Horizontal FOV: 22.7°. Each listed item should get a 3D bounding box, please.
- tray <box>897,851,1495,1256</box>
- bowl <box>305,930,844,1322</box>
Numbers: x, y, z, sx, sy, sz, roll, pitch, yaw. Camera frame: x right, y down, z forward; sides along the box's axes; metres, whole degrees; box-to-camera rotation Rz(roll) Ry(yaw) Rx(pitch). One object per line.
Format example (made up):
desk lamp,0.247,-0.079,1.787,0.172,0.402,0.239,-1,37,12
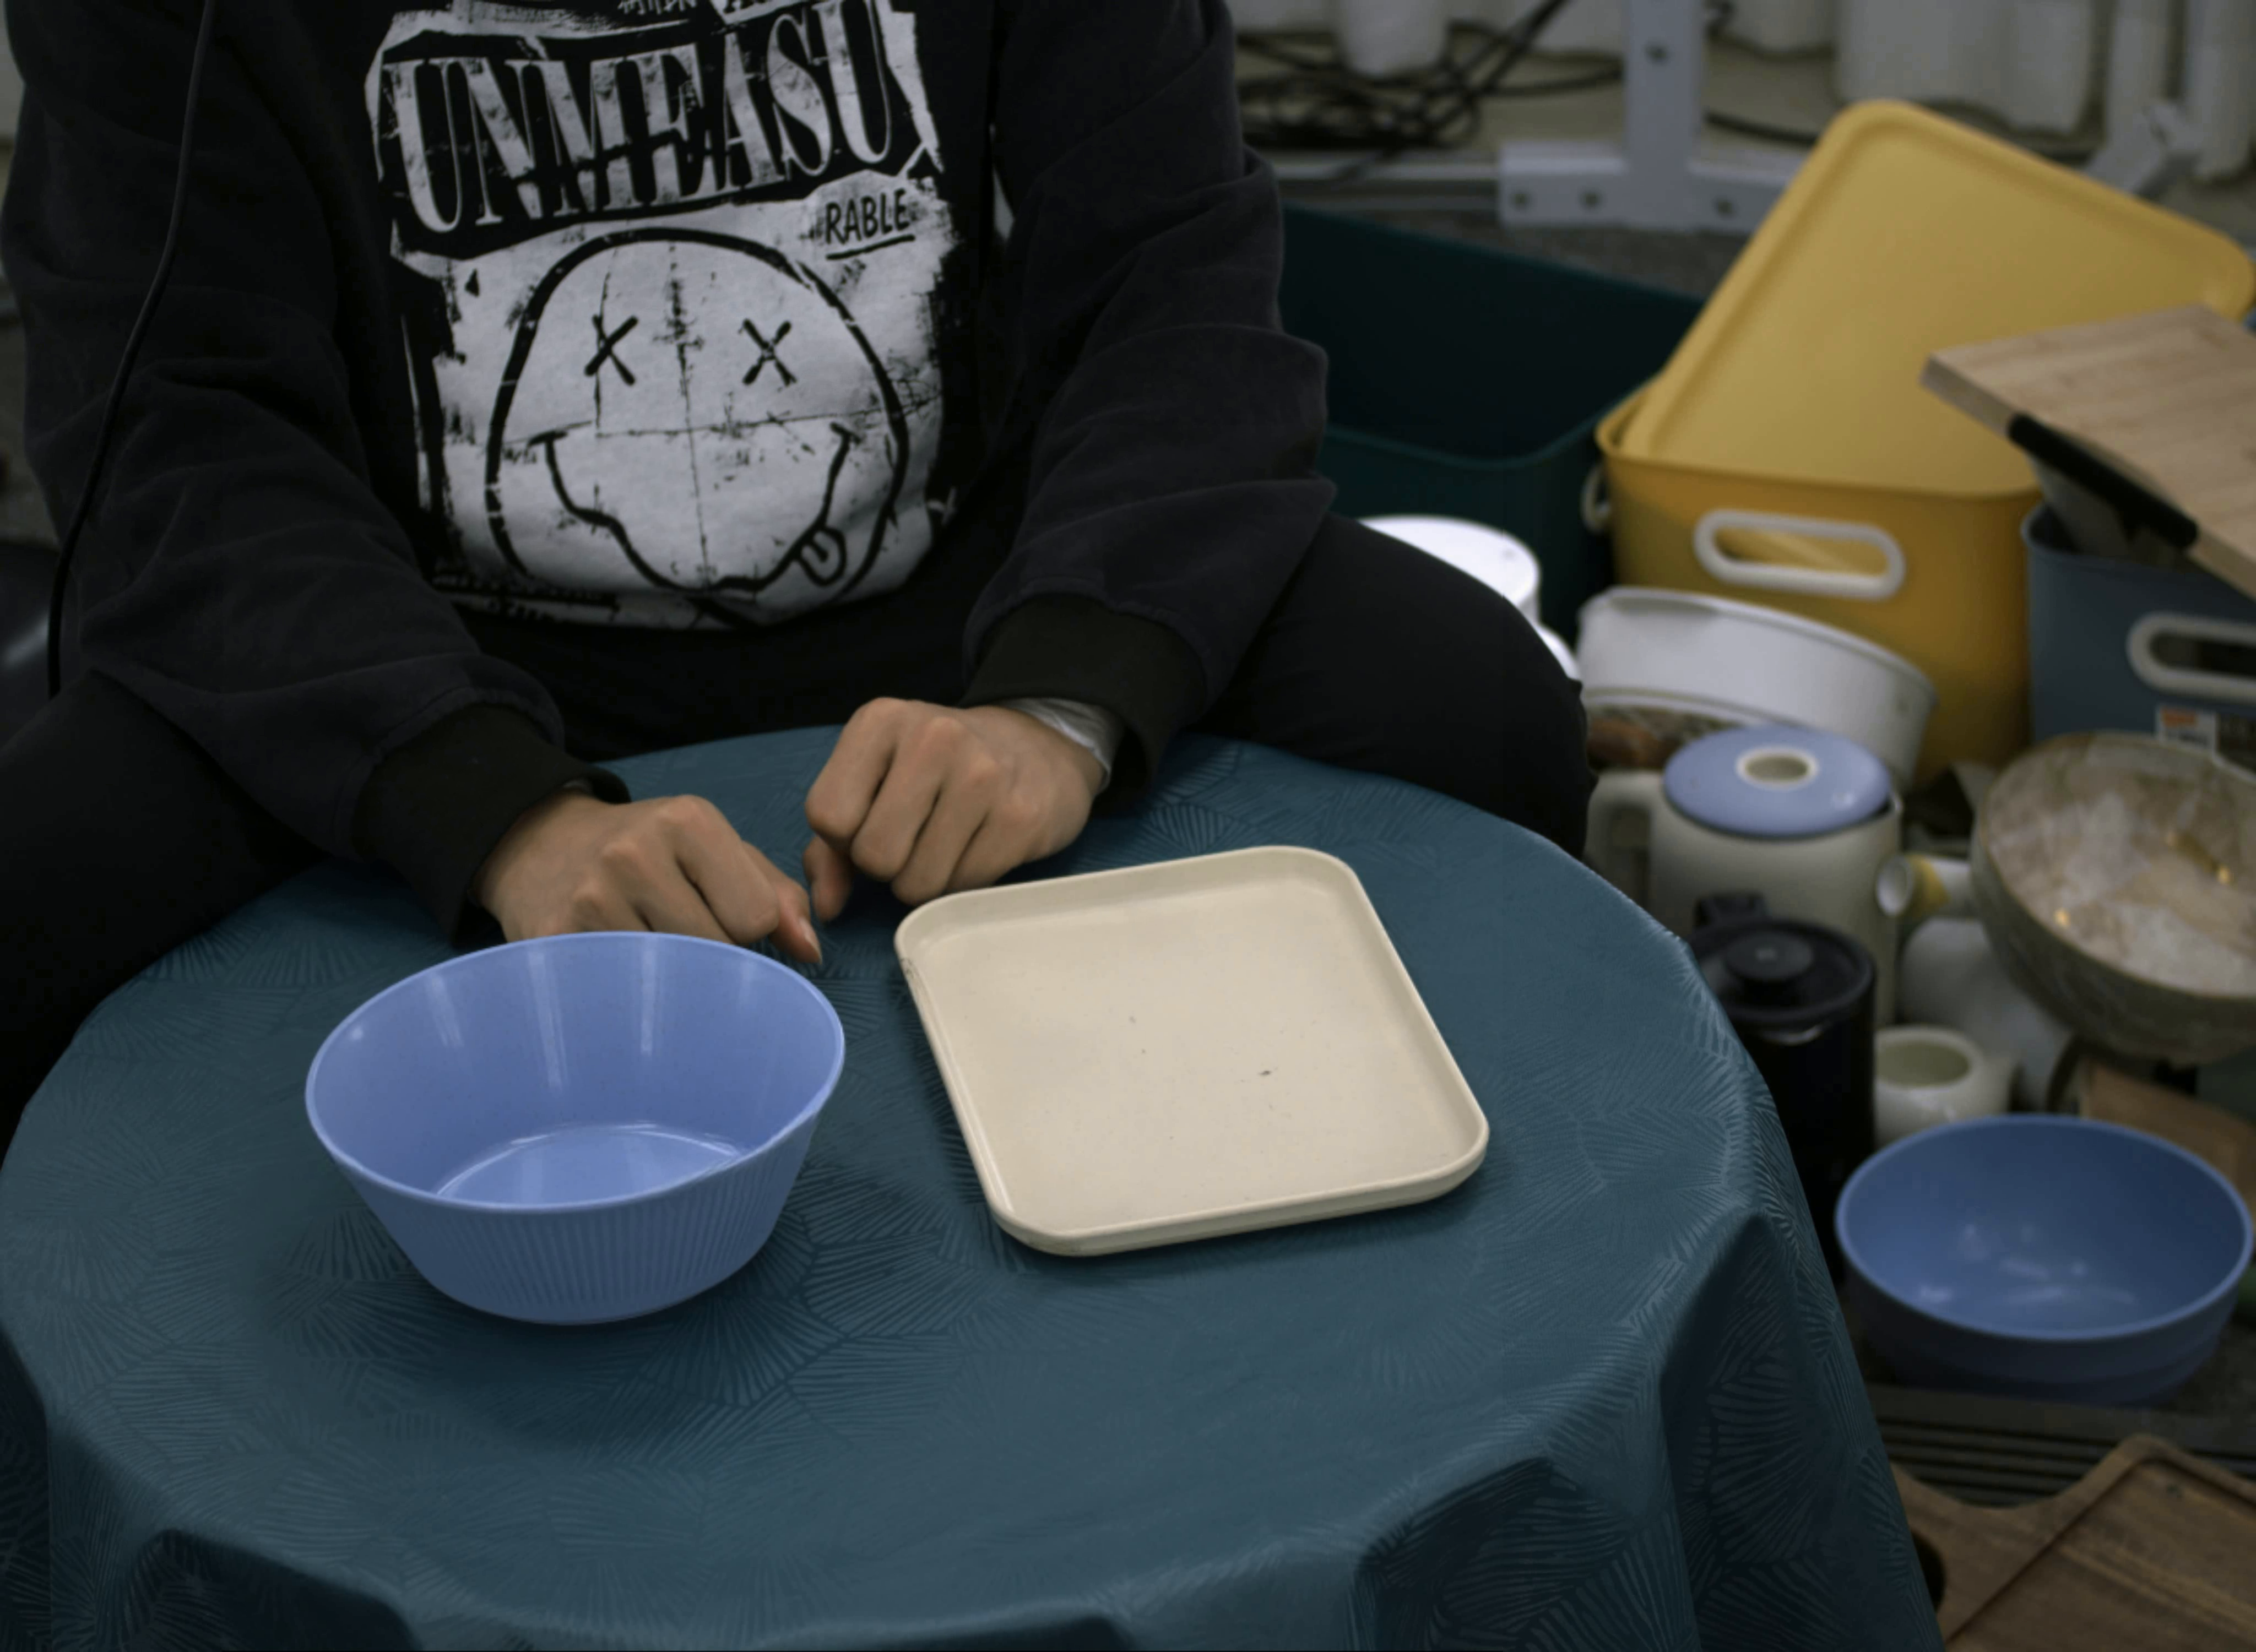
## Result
tray,0.020,0.077,1.927,0.171,0.017,0.242,-7,28,-10
bowl,-0.178,0.104,1.836,0.175,0.069,0.179,-2,28,1
